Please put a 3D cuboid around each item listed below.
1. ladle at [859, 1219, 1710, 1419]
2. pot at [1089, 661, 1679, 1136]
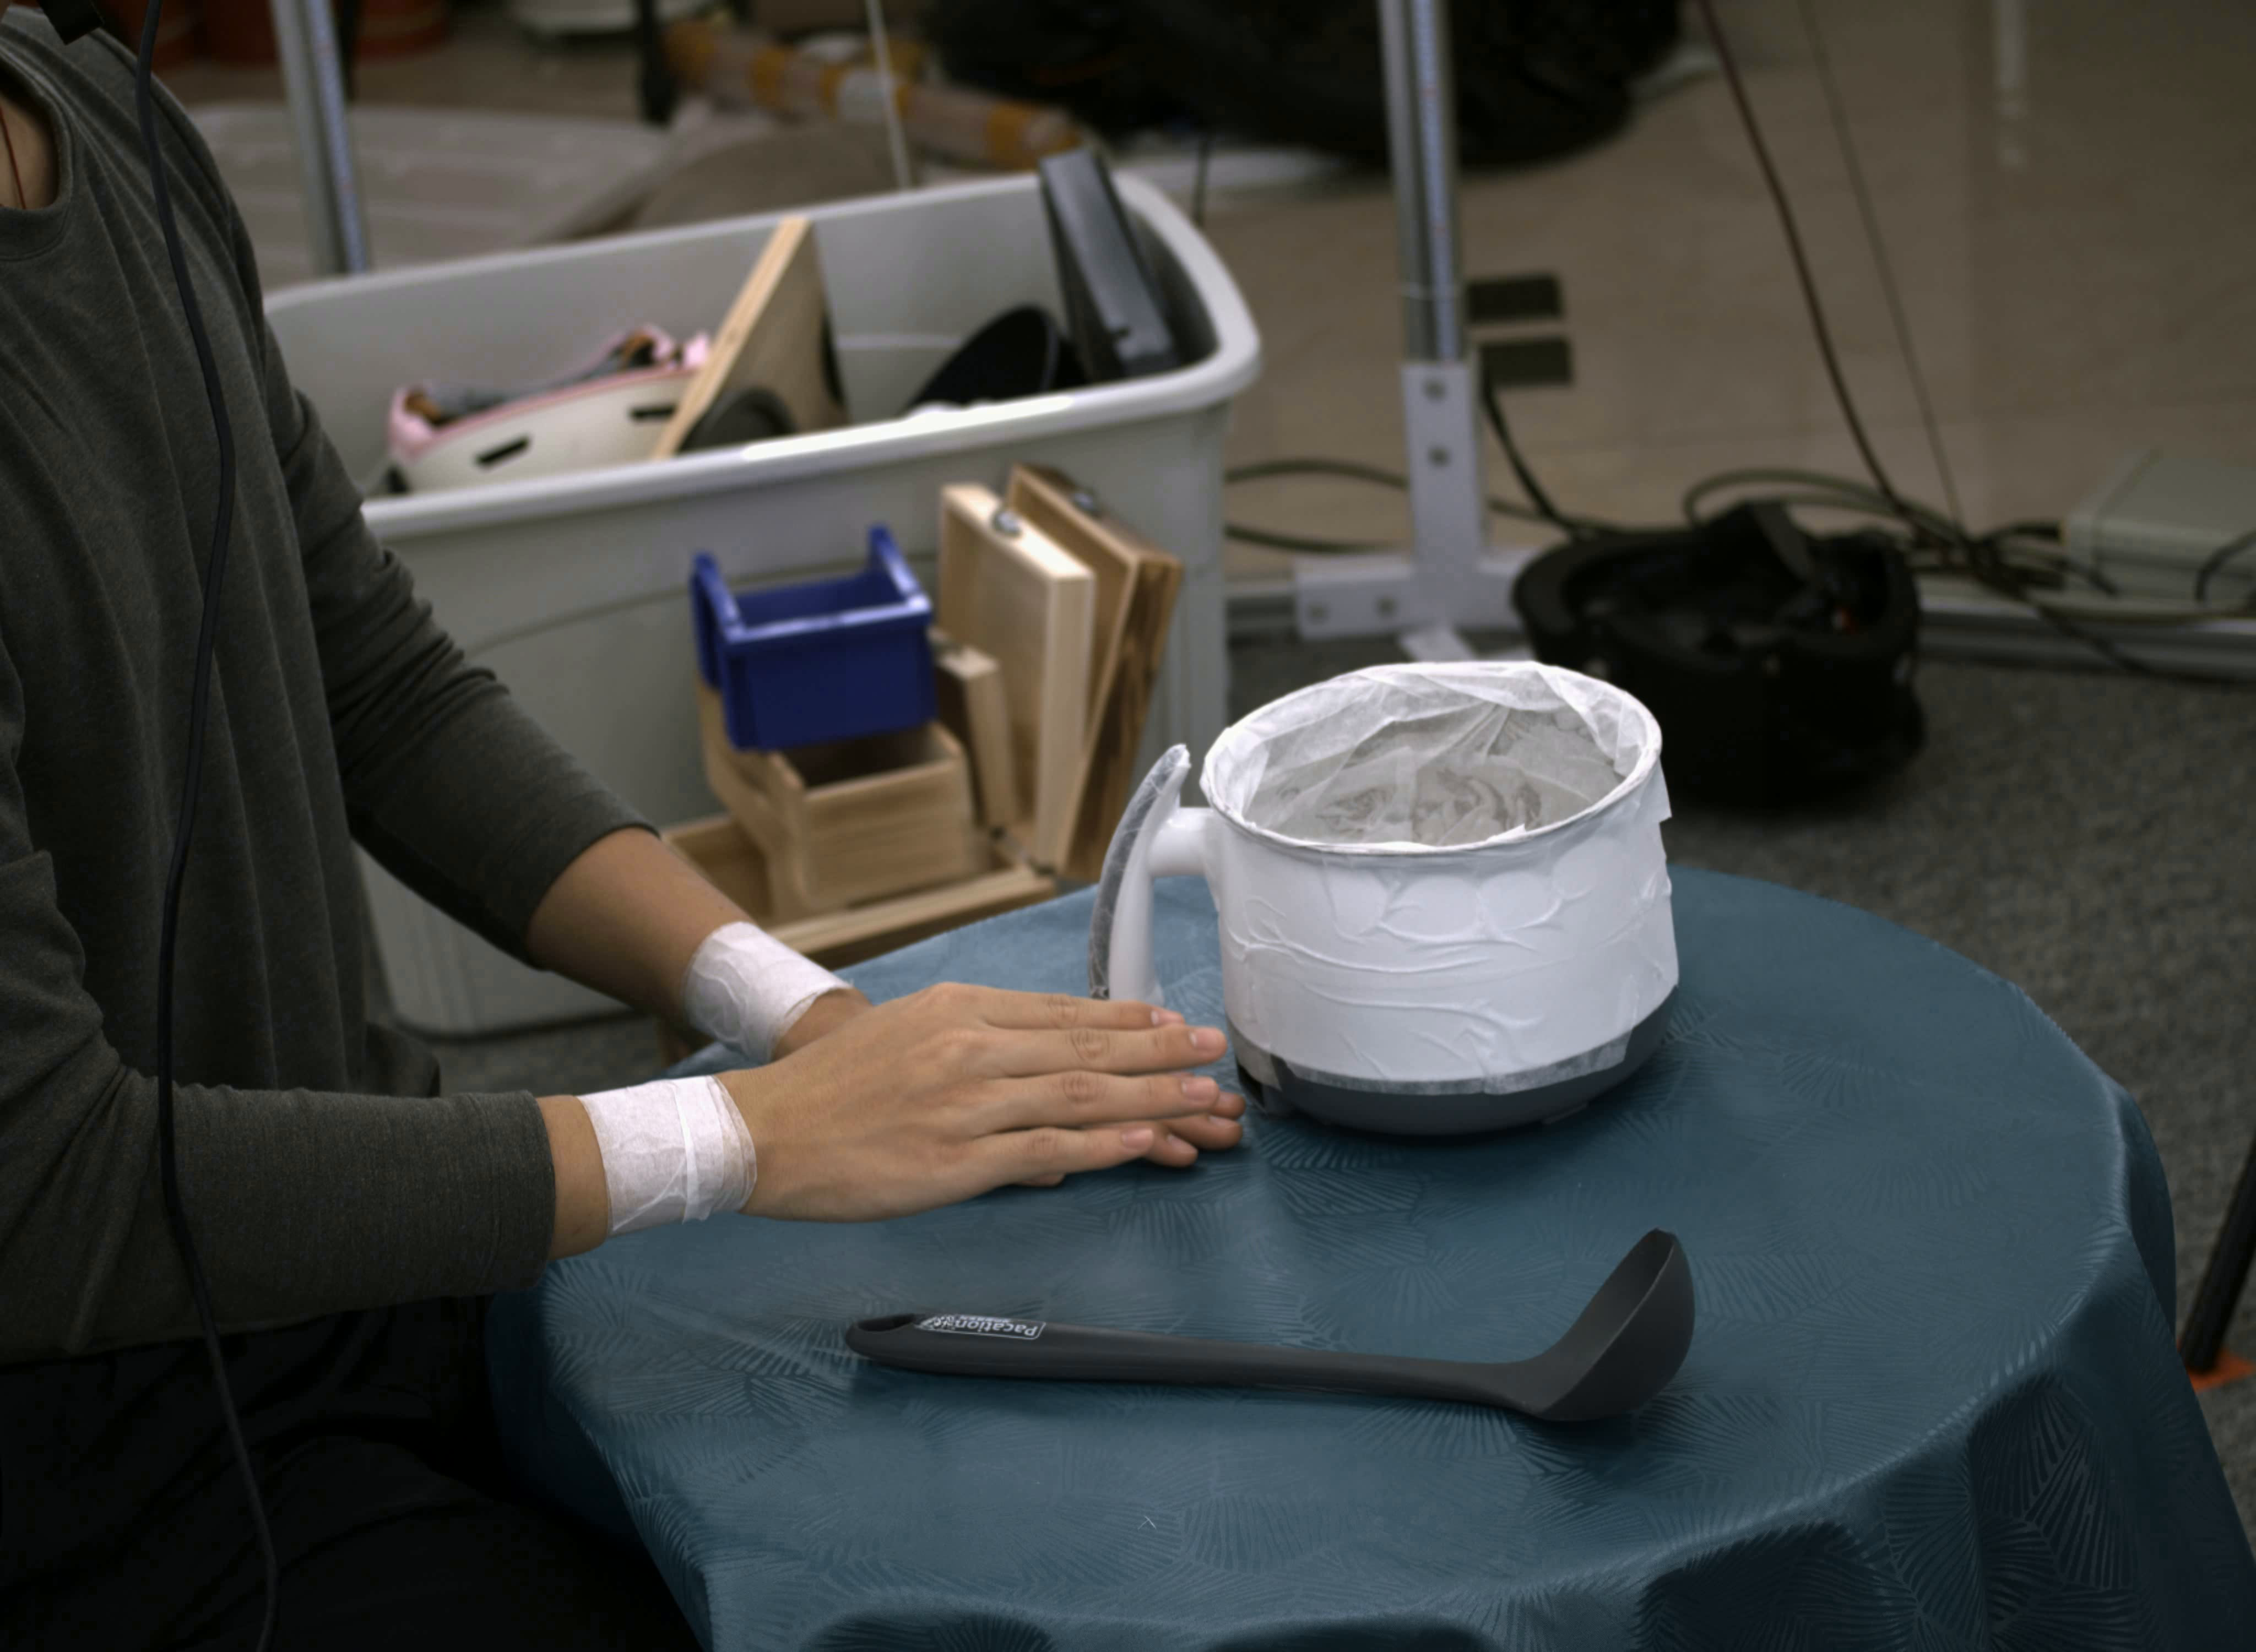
[{"bbox_3d":[0.050,0.170,1.996,0.313,0.065,0.085,2,24,18],"label":"ladle"},{"bbox_3d":[0.096,0.030,2.198,0.233,0.139,0.176,-1,25,12],"label":"pot"}]
